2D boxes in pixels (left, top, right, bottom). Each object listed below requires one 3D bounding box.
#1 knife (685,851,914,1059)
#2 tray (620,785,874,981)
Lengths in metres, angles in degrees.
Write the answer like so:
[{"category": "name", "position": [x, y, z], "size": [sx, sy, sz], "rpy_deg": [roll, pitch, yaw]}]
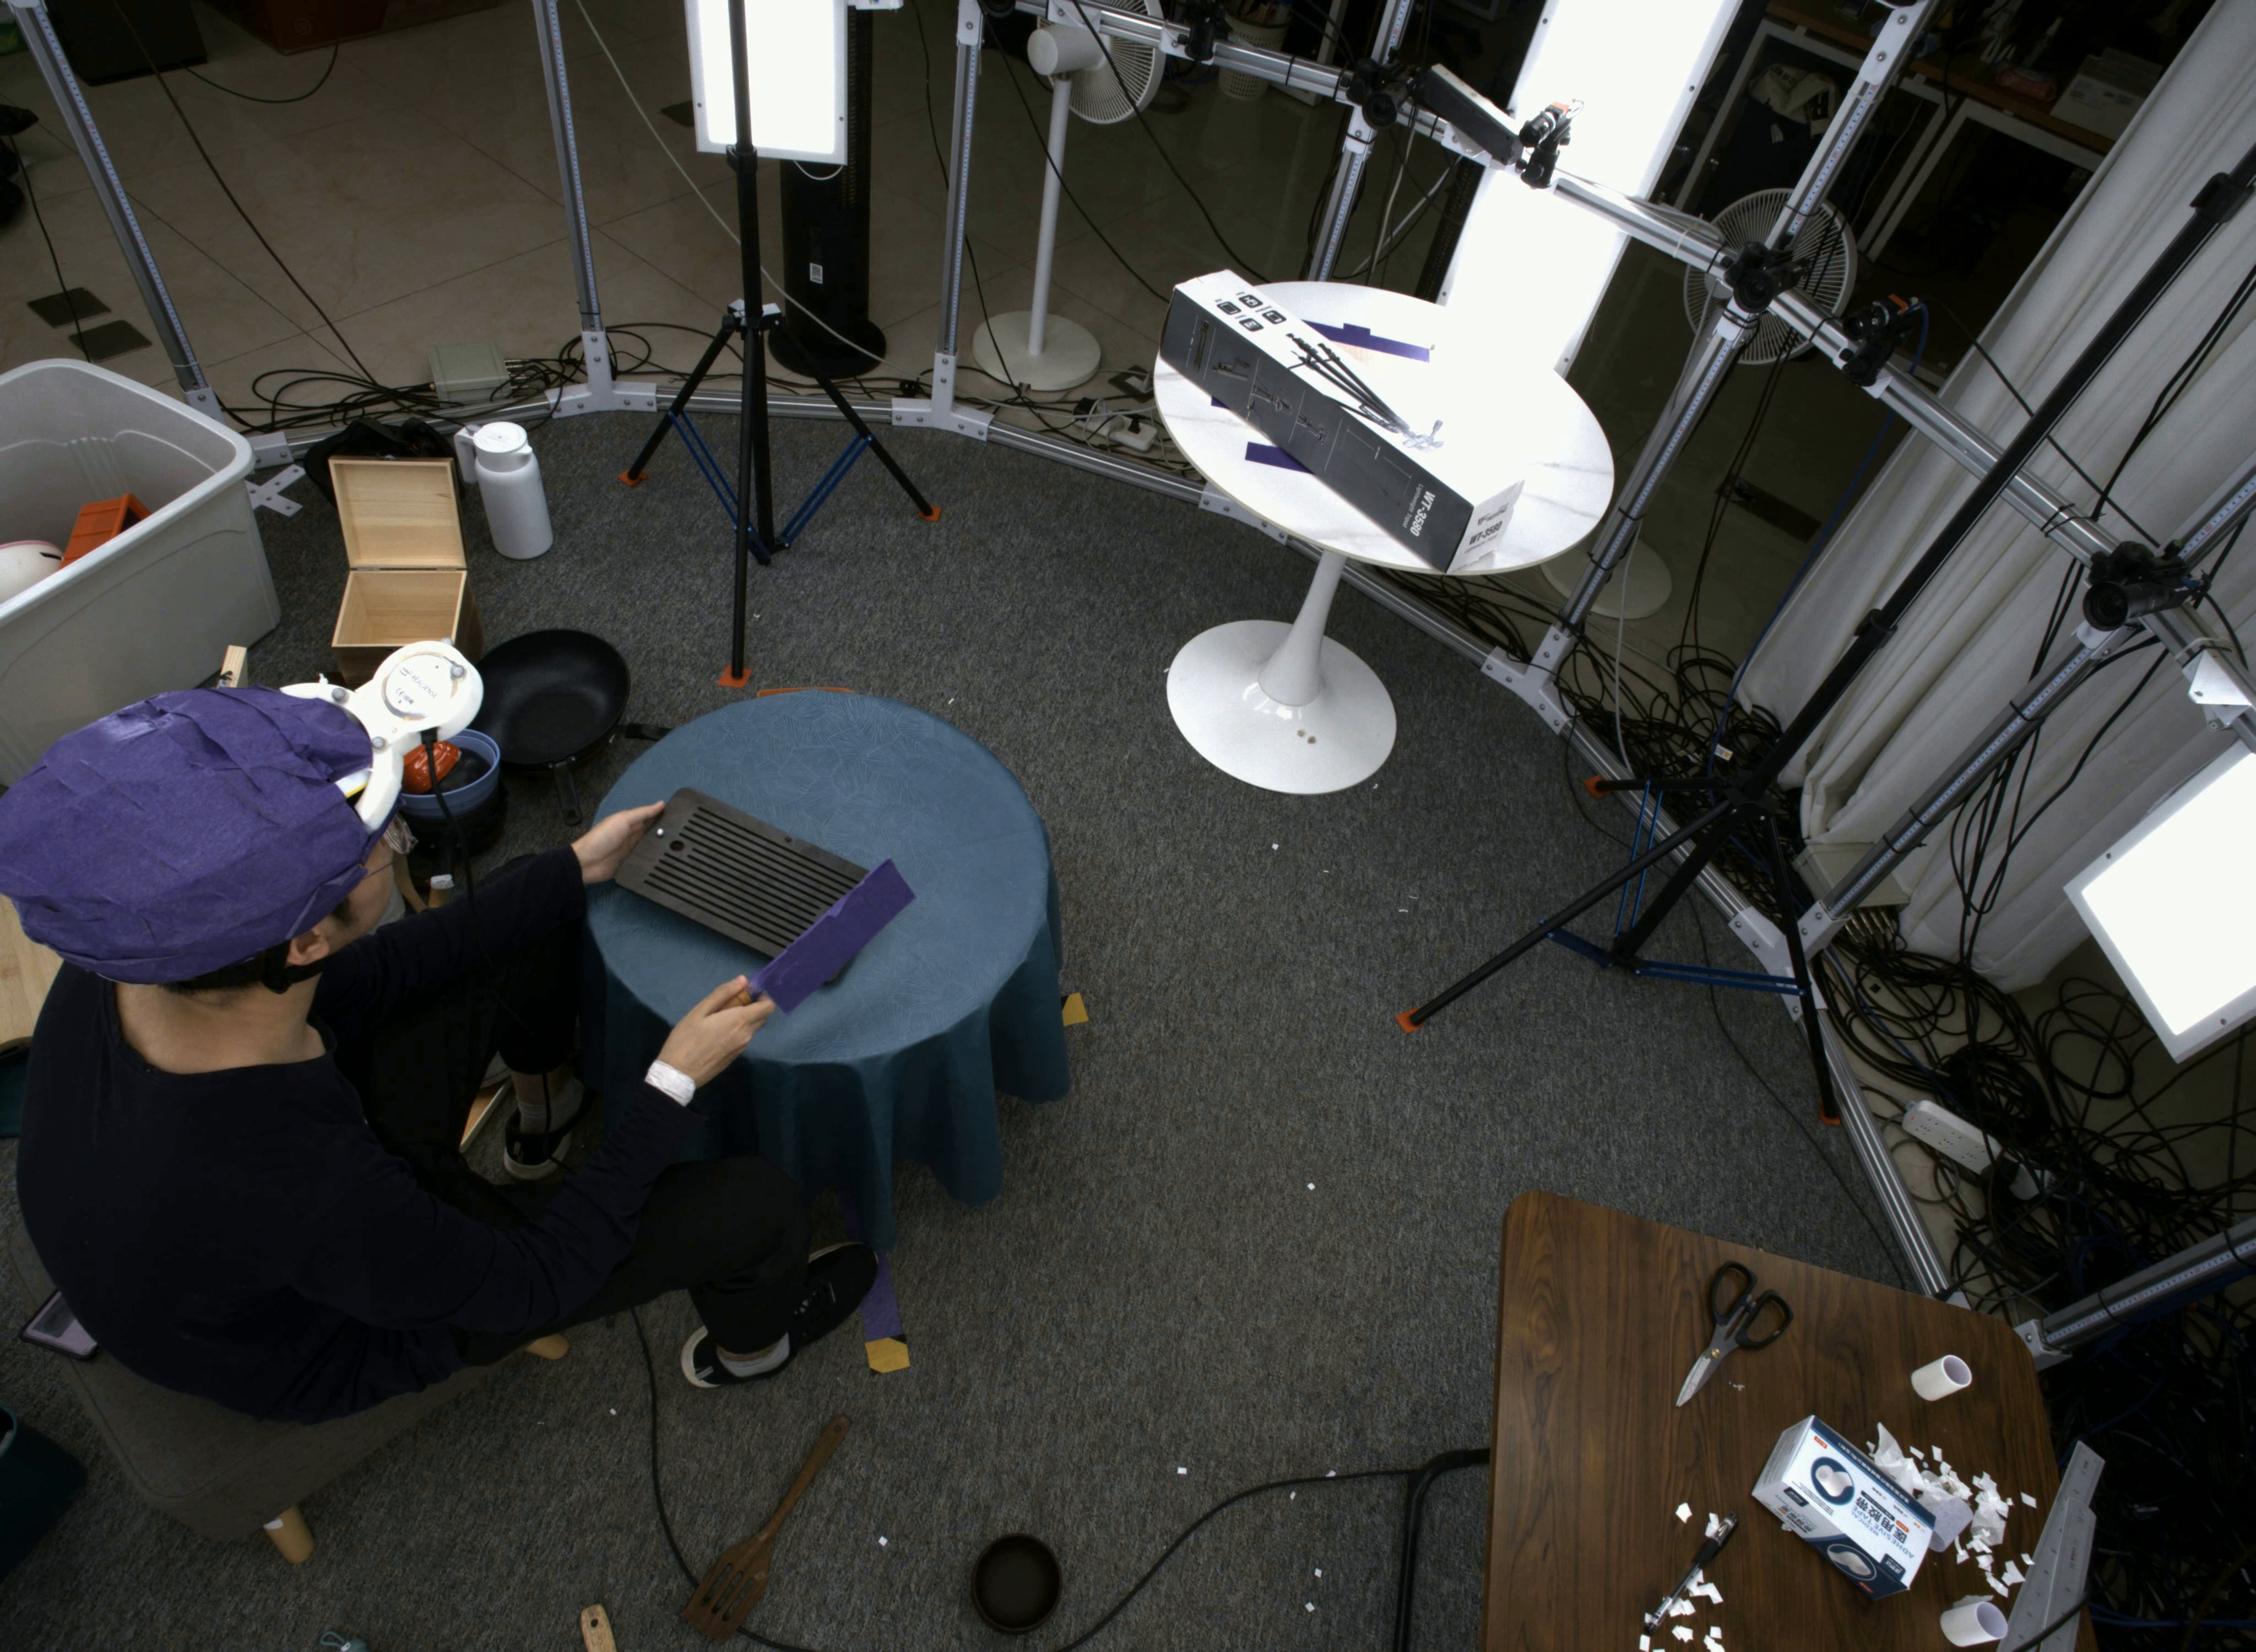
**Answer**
[{"category": "knife", "position": [-0.371, 0.162, 1.506], "size": [0.315, 0.108, 0.031], "rpy_deg": [-43, 53, -17]}, {"category": "tray", "position": [-0.469, 0.070, 1.639], "size": [0.305, 0.019, 0.168], "rpy_deg": [25, 53, -3]}]
